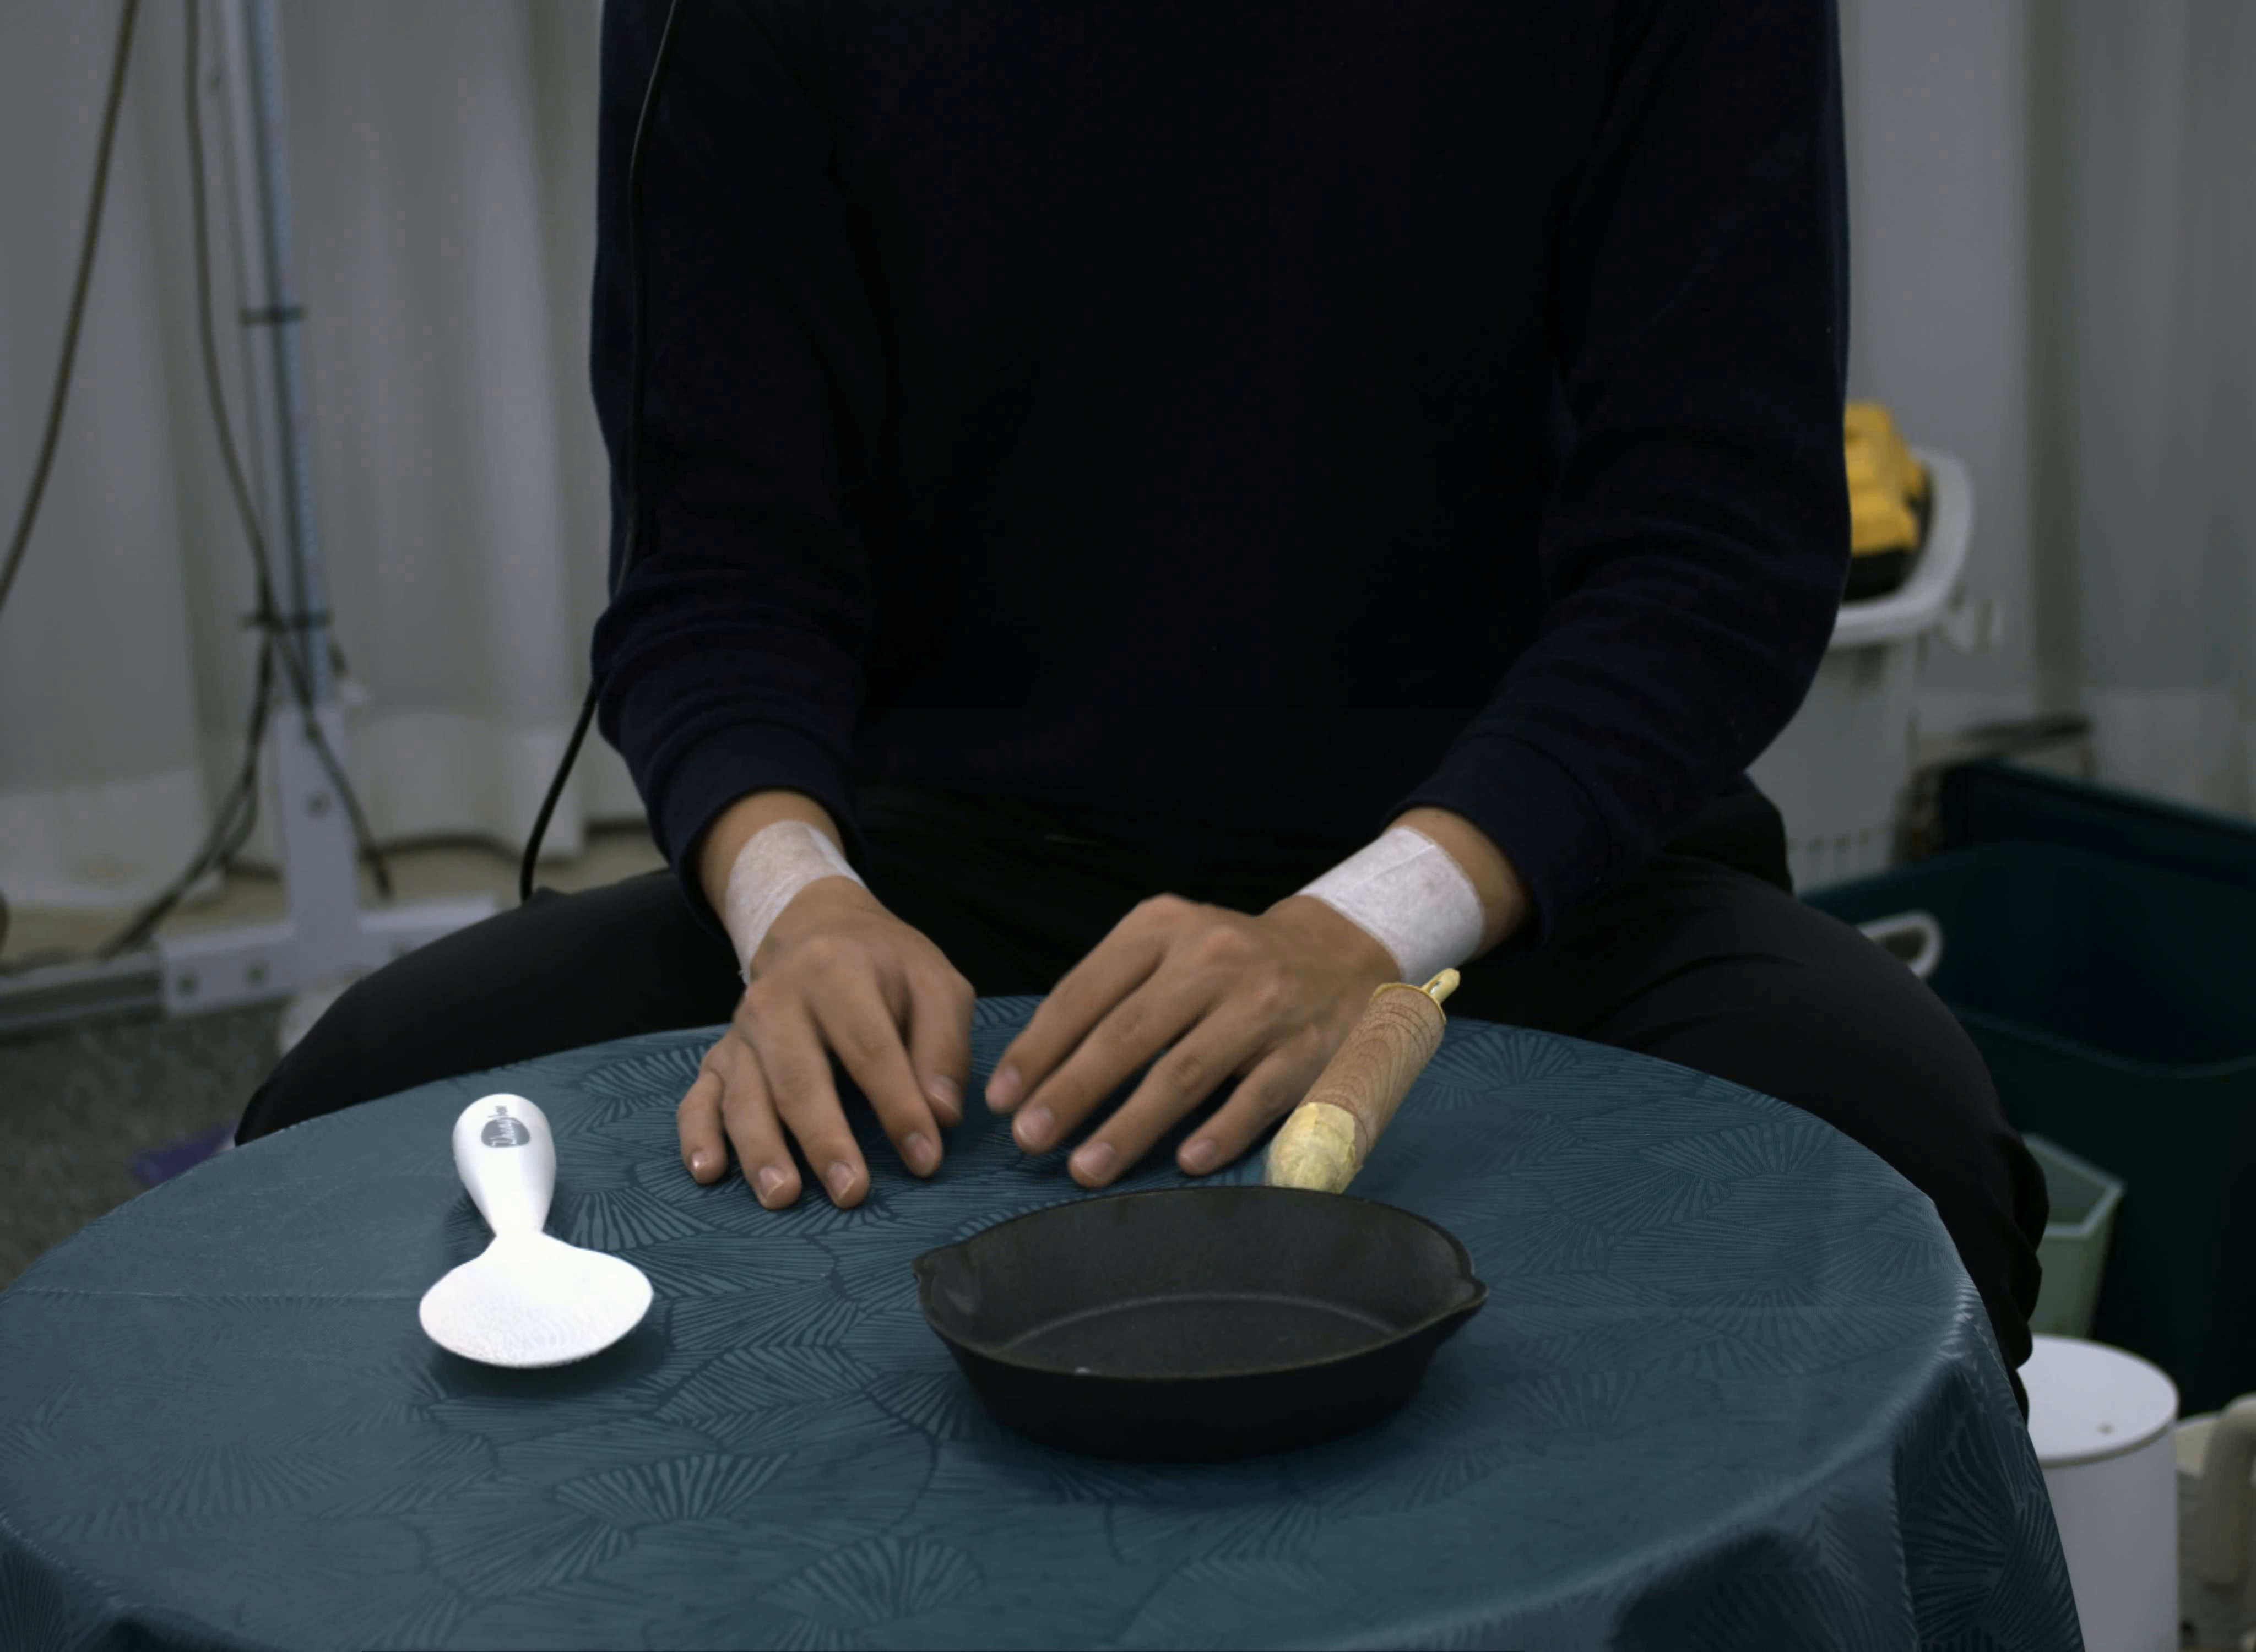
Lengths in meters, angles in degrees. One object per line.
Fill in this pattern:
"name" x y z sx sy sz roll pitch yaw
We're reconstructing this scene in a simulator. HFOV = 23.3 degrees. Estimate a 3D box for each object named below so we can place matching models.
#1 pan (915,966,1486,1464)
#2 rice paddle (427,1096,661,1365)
"pan" 0.049 0.112 1.620 0.169 0.049 0.325 2 17 20
"rice paddle" -0.182 0.125 1.658 0.068 0.029 0.207 -8 15 -9
